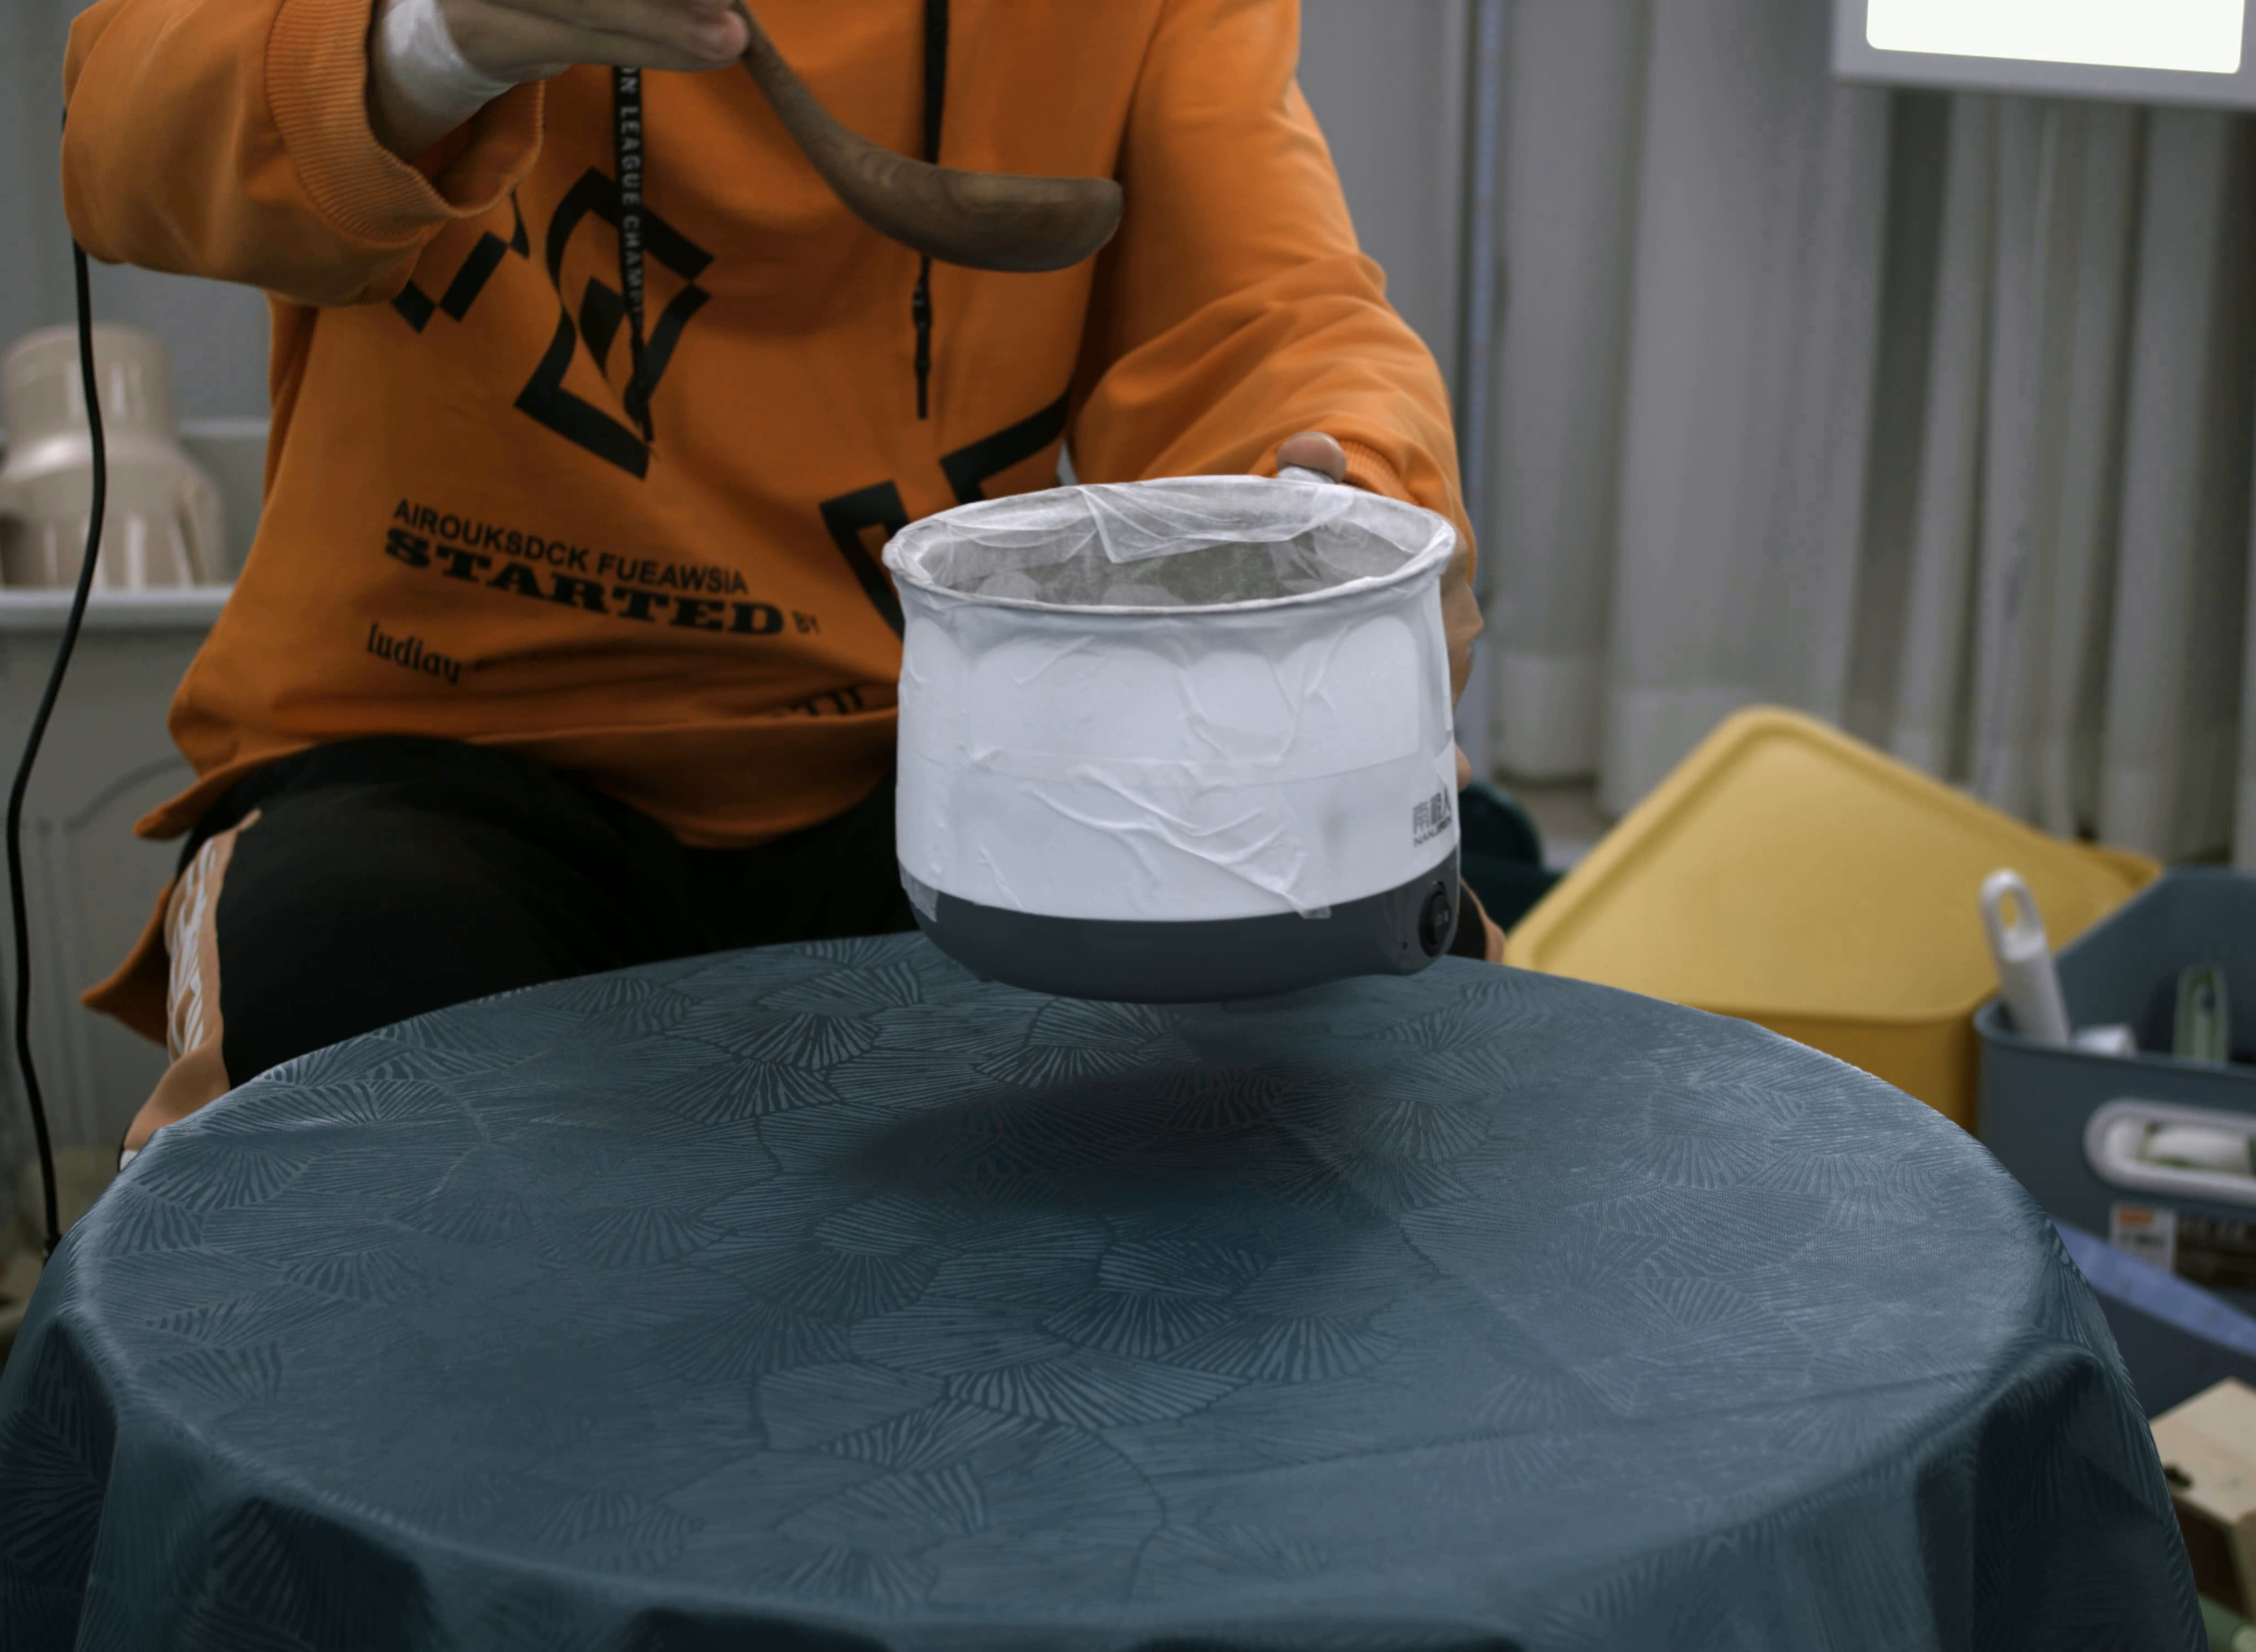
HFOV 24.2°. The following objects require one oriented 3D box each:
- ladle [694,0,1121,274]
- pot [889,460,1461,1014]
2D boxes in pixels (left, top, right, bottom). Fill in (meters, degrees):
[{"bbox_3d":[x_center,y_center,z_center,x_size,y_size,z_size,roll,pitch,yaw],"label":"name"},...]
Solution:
[{"bbox_3d":[-0.109,-0.251,1.540,0.065,0.262,0.076,-52,18,-15],"label":"ladle"},{"bbox_3d":[0.027,-0.034,1.664,0.177,0.138,0.234,6,18,23],"label":"pot"}]
